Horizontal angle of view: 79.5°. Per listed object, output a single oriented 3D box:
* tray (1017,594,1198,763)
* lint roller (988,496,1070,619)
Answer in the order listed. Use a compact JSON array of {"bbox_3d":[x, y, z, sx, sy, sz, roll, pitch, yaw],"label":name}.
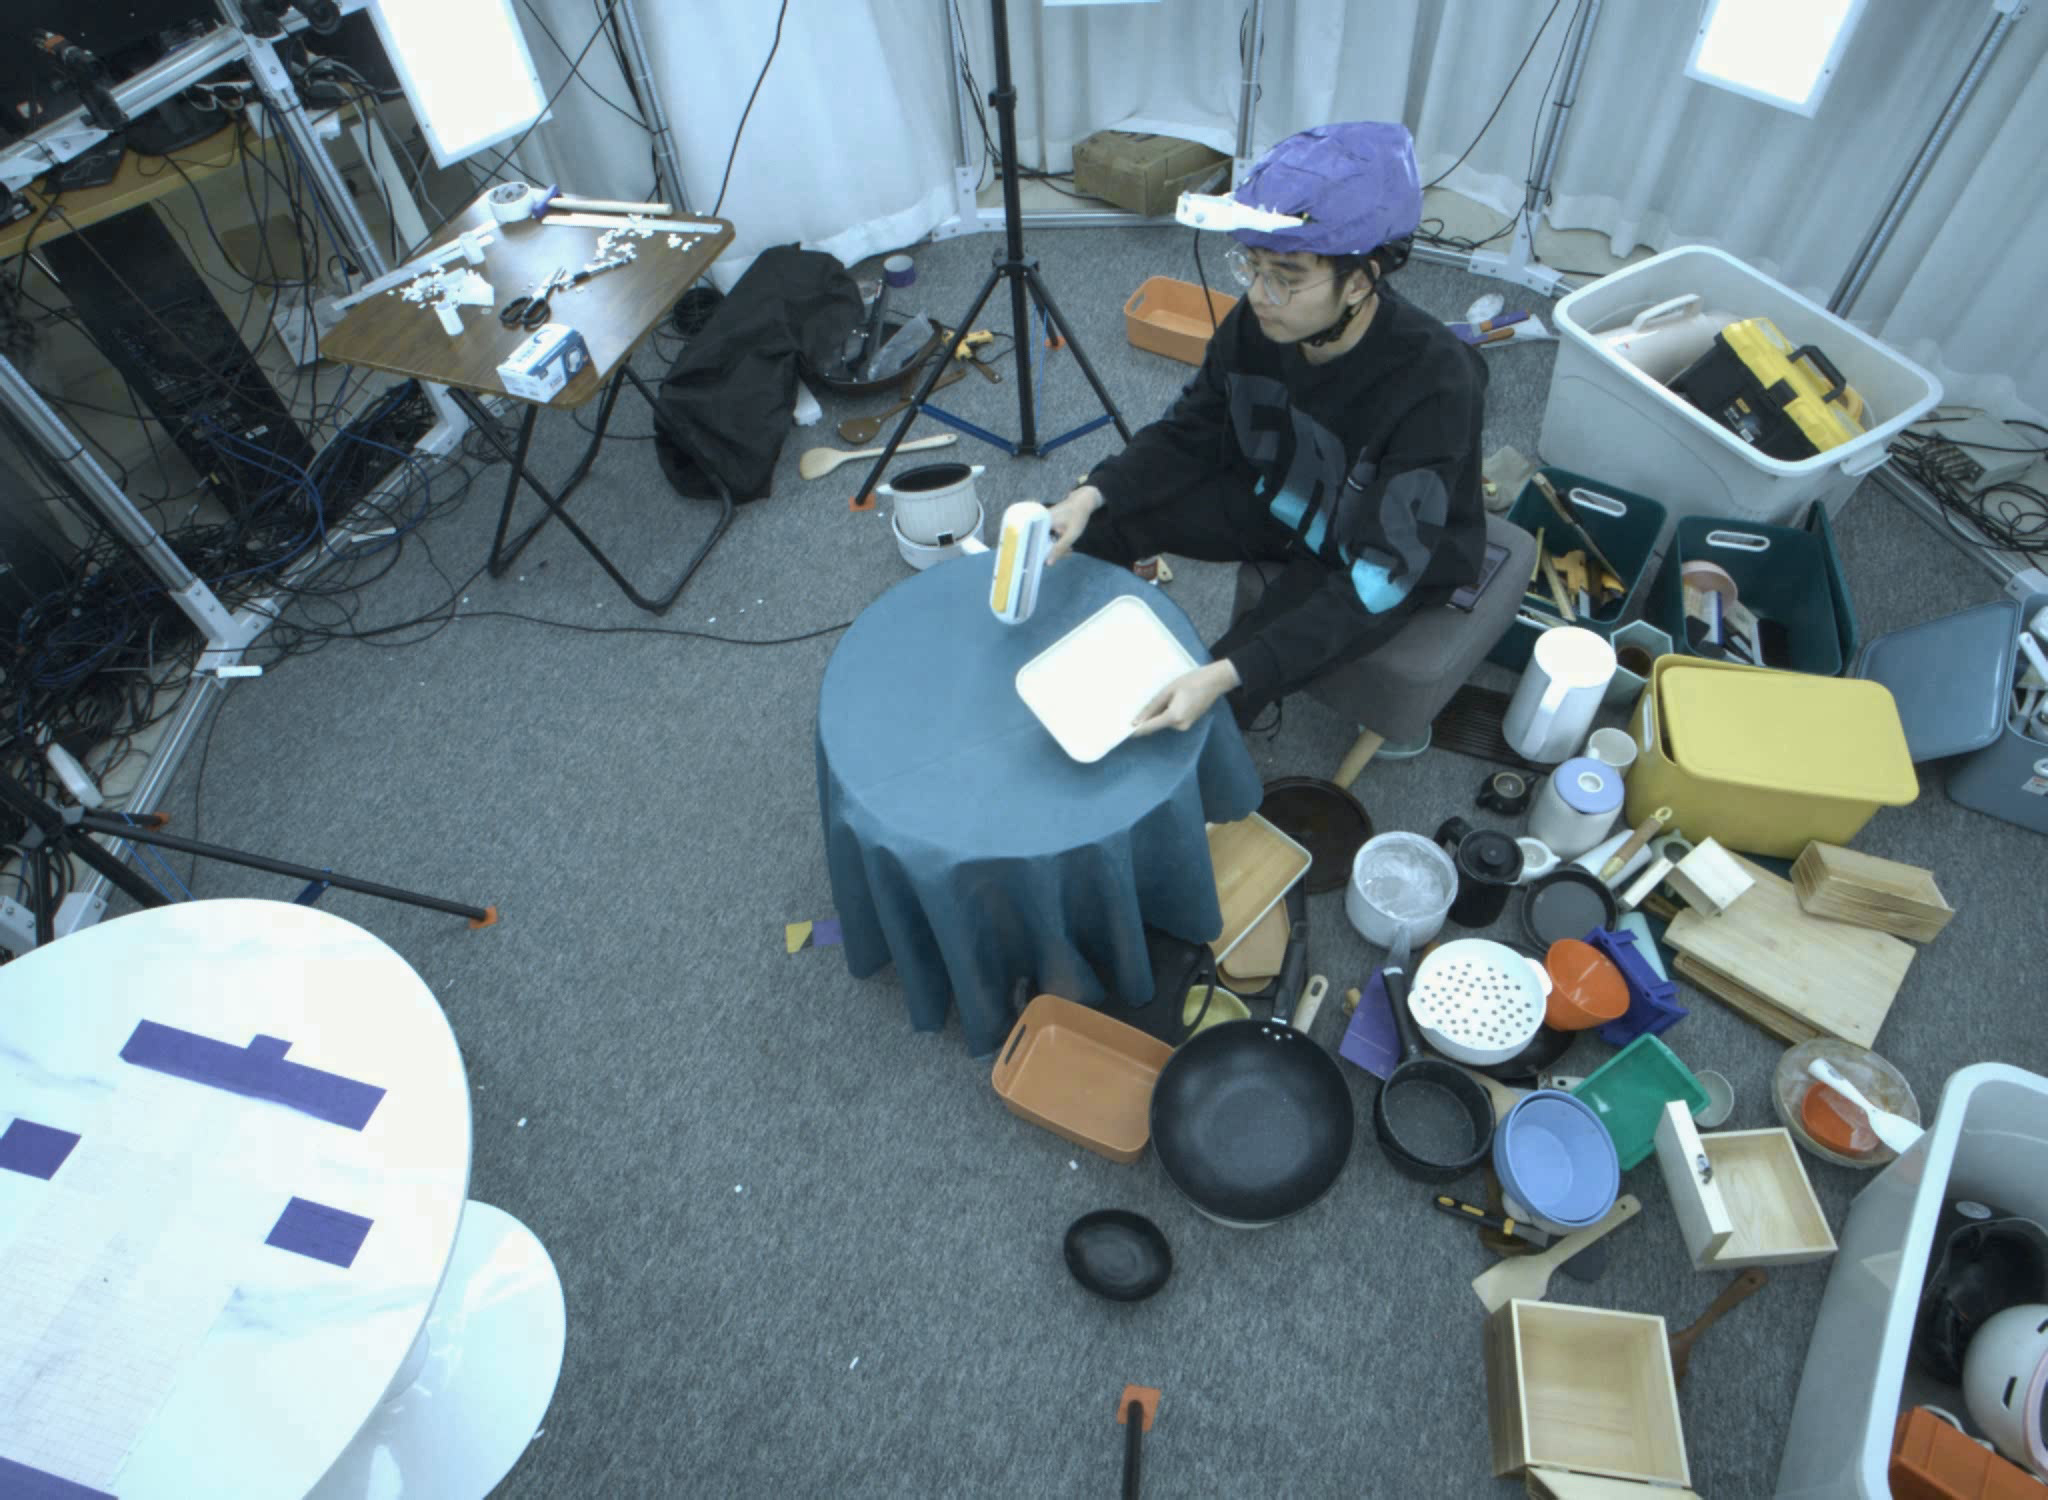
[{"bbox_3d":[0.120,-0.103,1.755,0.241,0.017,0.171,-37,86,-18],"label":"tray"},{"bbox_3d":[0.024,-0.306,1.871,0.073,0.194,0.195,28,33,26],"label":"lint roller"}]
